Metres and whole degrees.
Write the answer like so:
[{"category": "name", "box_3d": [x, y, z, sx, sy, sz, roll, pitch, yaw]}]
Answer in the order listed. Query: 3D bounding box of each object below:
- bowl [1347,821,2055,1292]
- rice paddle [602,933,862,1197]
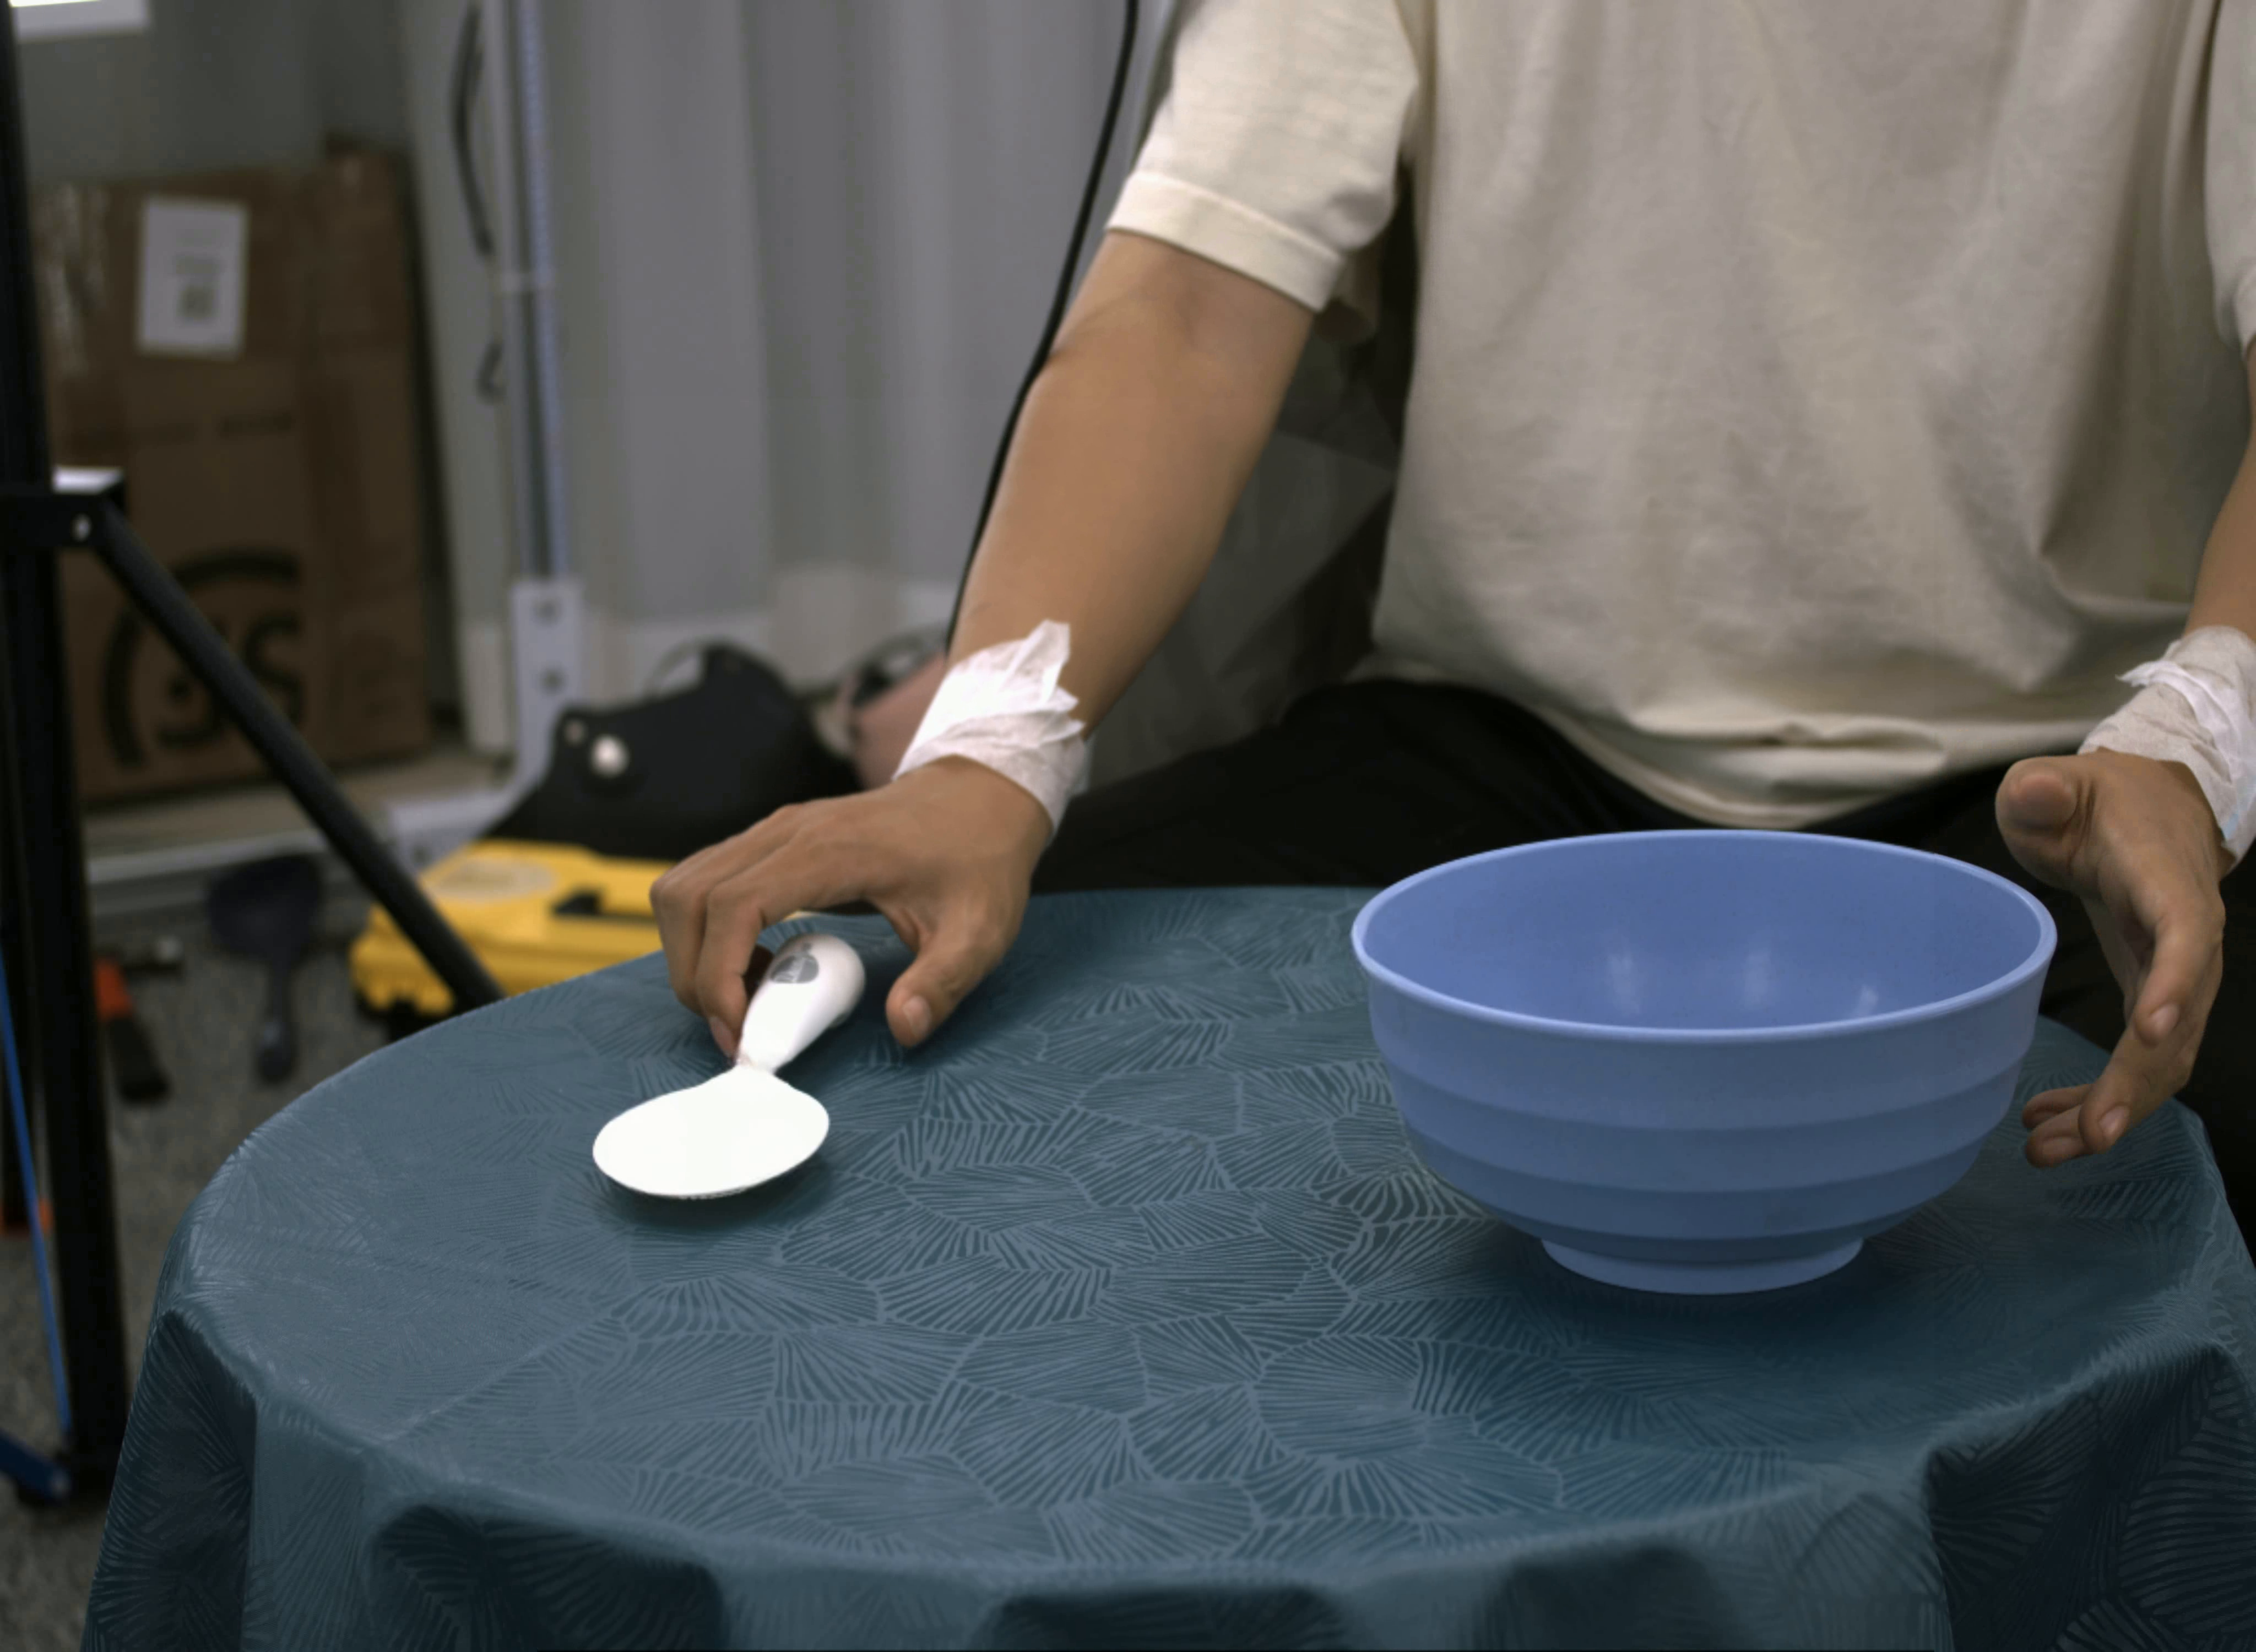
[{"category": "bowl", "box_3d": [0.161, 0.070, 1.483, 0.195, 0.095, 0.197, -4, 16, 0]}, {"category": "rice paddle", "box_3d": [-0.113, 0.076, 1.634, 0.069, 0.029, 0.205, -2, 15, 8]}]
